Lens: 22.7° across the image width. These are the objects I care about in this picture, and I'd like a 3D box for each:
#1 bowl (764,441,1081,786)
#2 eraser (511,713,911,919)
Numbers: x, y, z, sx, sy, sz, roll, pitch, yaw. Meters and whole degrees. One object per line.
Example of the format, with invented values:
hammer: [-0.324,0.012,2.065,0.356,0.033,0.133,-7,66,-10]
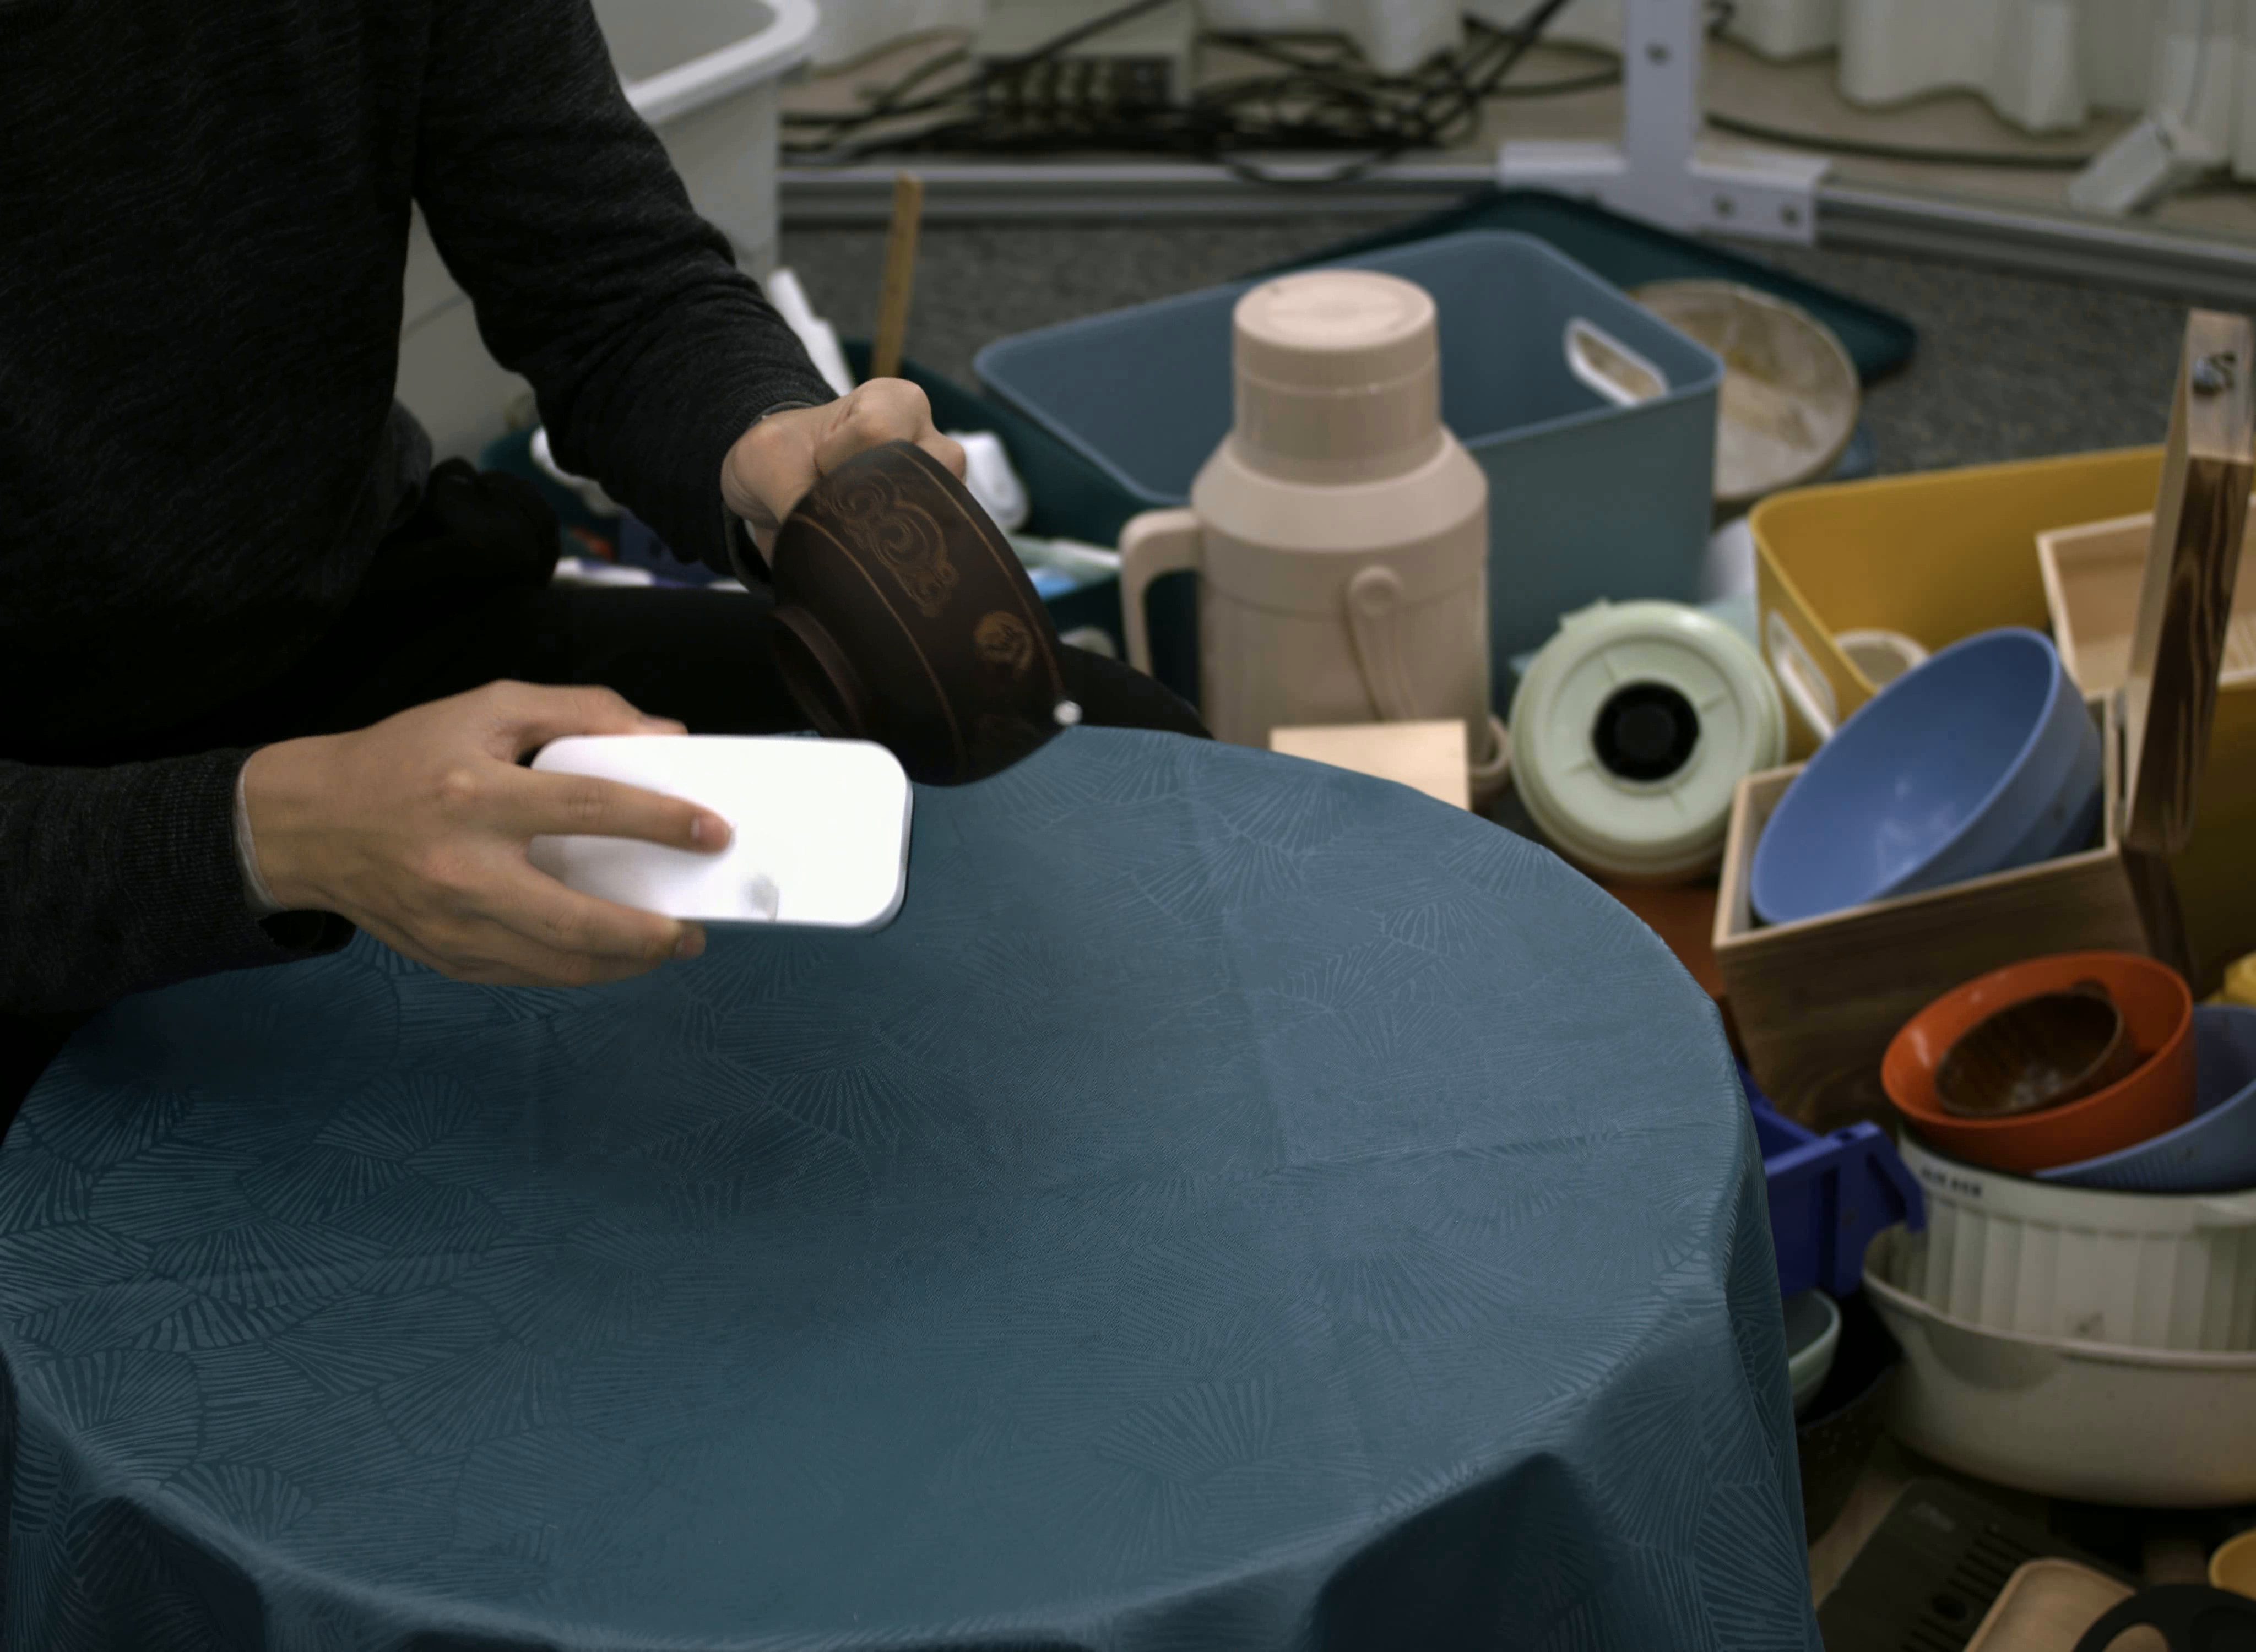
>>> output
bowl: [-0.078,-0.063,1.880,0.070,0.117,0.118,-38,39,-17]
eraser: [-0.135,-0.002,1.828,0.130,0.064,0.034,1,-14,13]
